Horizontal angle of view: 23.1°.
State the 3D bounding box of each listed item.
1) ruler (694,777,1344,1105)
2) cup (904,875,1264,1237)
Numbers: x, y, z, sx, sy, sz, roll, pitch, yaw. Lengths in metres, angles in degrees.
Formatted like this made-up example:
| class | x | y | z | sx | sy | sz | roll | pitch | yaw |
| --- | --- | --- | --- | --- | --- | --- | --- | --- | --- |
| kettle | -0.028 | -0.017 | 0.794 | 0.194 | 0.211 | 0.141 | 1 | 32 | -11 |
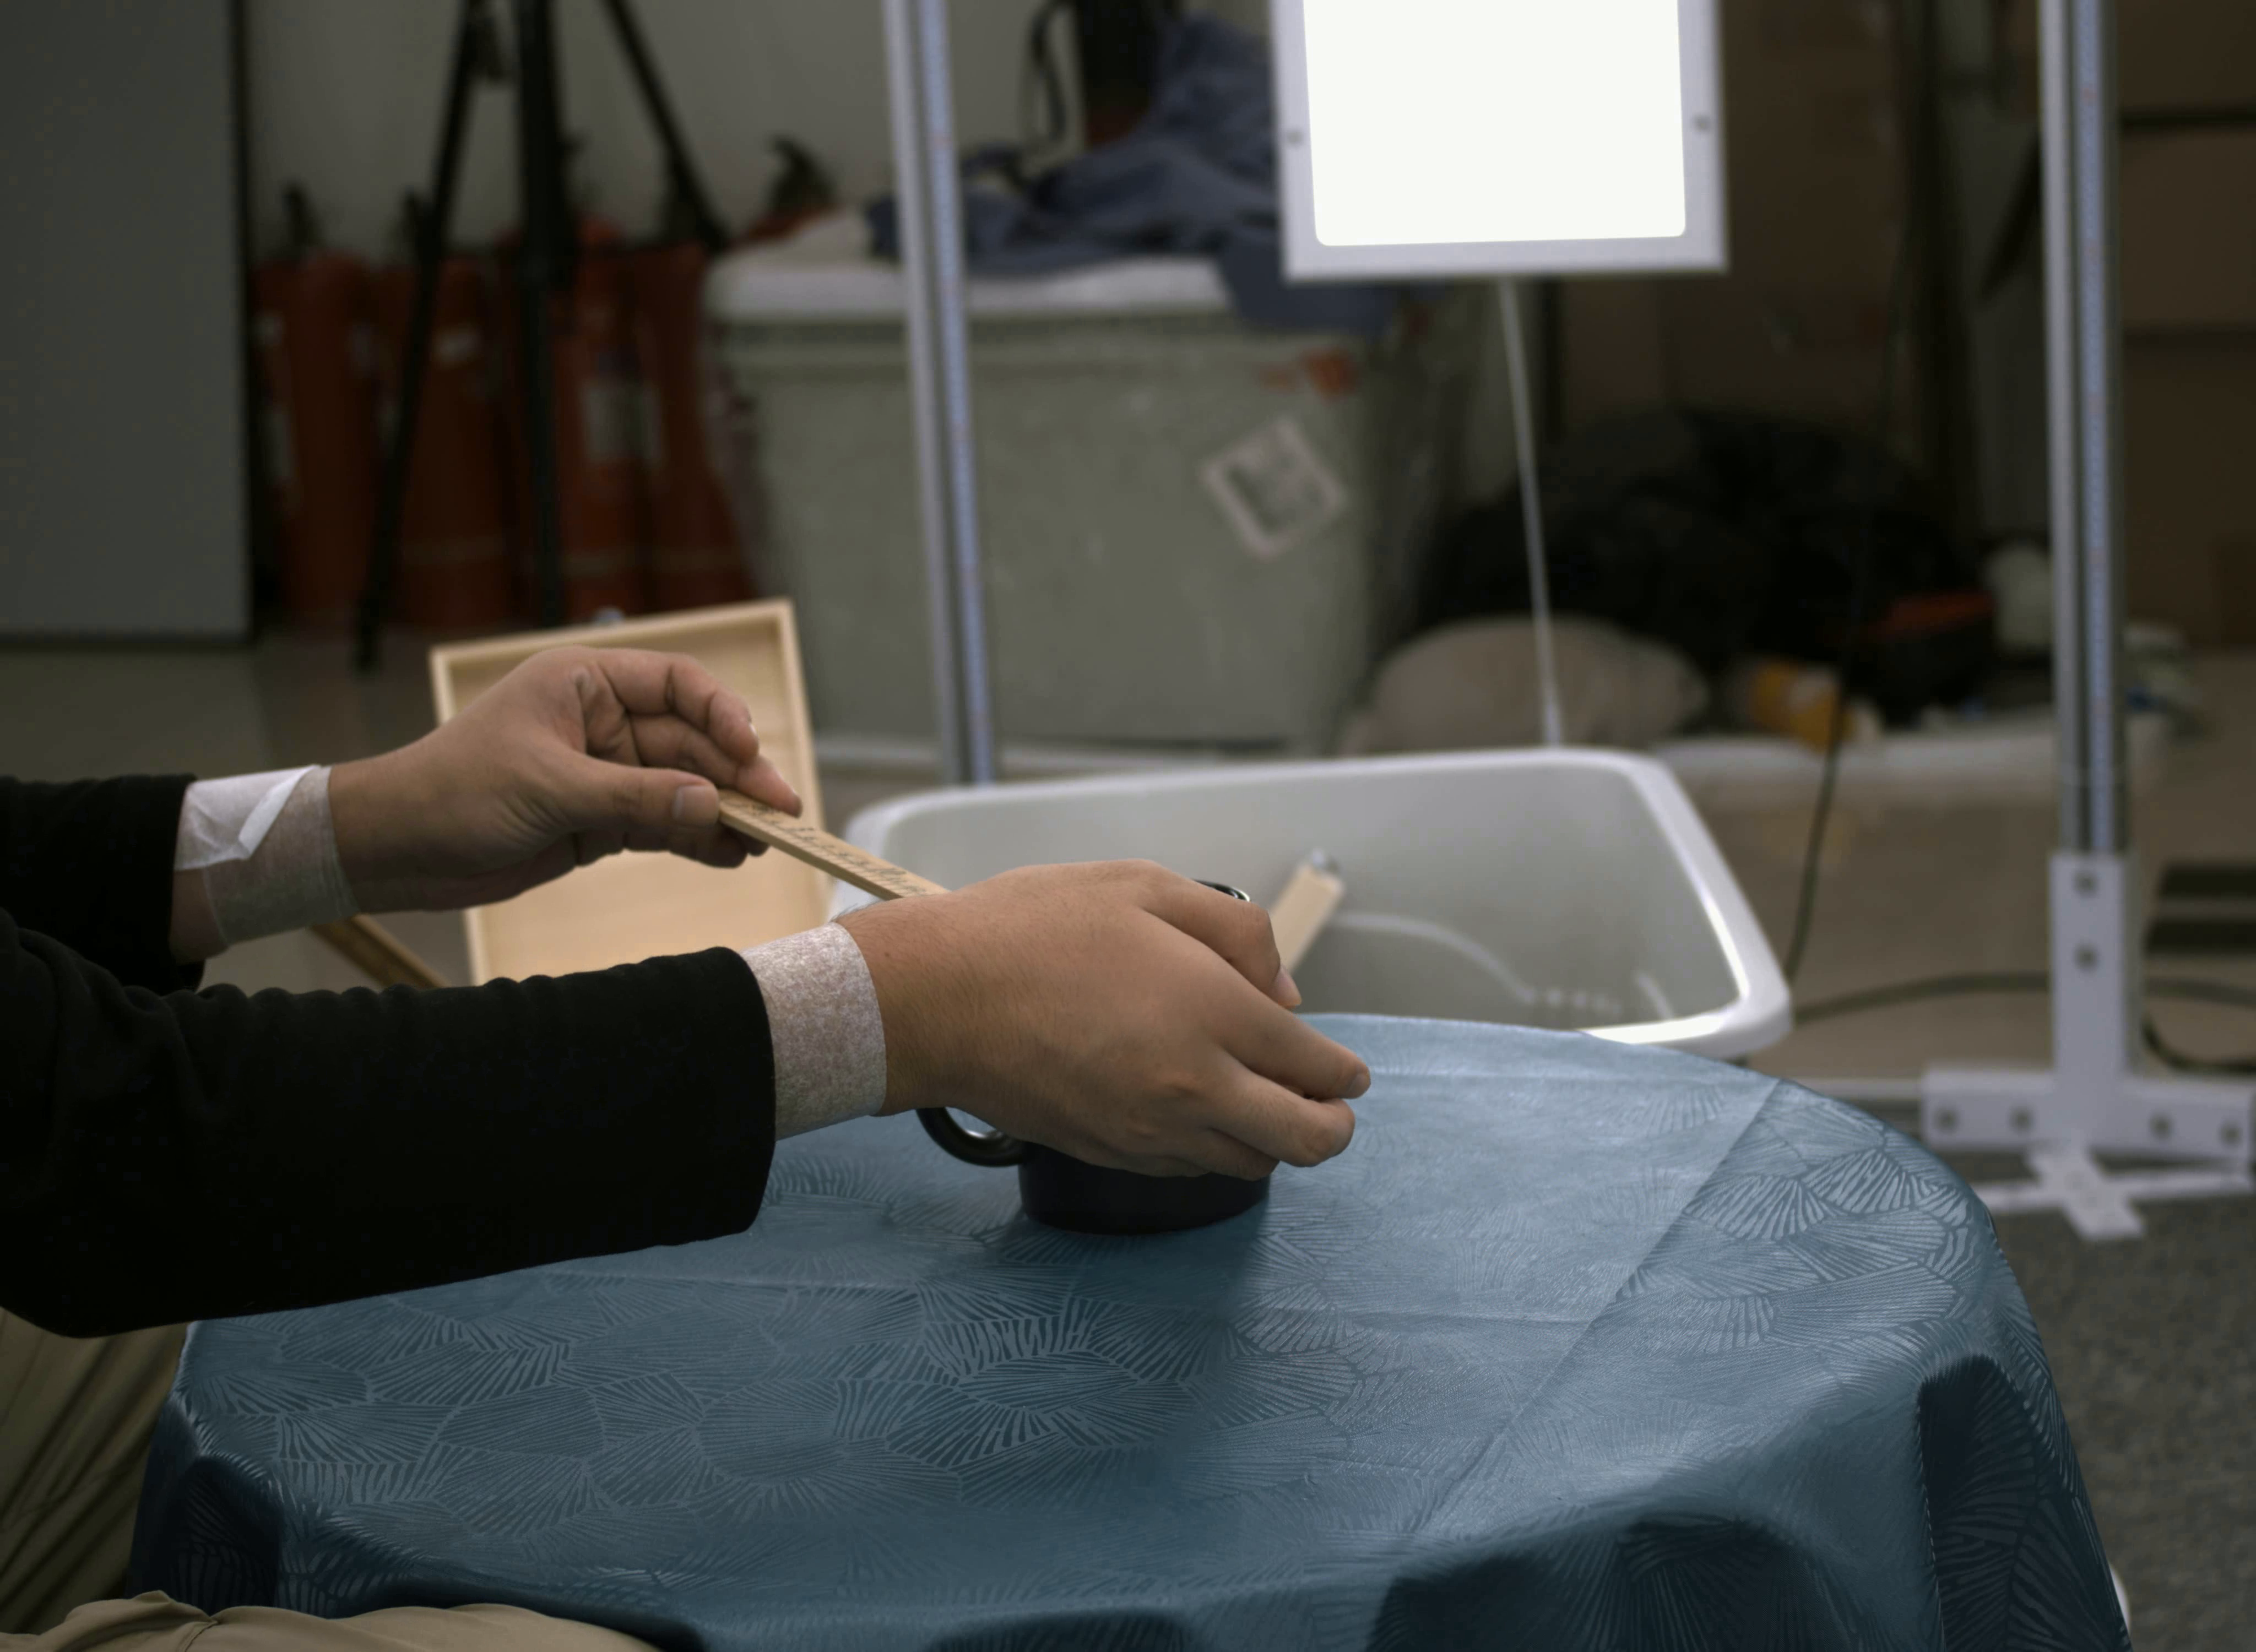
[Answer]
| class | x | y | z | sx | sy | sz | roll | pitch | yaw |
| --- | --- | --- | --- | --- | --- | --- | --- | --- | --- |
| ruler | -0.043 | 0.033 | 1.834 | 0.027 | 0.022 | 0.338 | 6 | 13 | -40 |
| cup | -0.015 | 0.080 | 1.876 | 0.122 | 0.106 | 0.089 | -6 | 16 | -9 |
